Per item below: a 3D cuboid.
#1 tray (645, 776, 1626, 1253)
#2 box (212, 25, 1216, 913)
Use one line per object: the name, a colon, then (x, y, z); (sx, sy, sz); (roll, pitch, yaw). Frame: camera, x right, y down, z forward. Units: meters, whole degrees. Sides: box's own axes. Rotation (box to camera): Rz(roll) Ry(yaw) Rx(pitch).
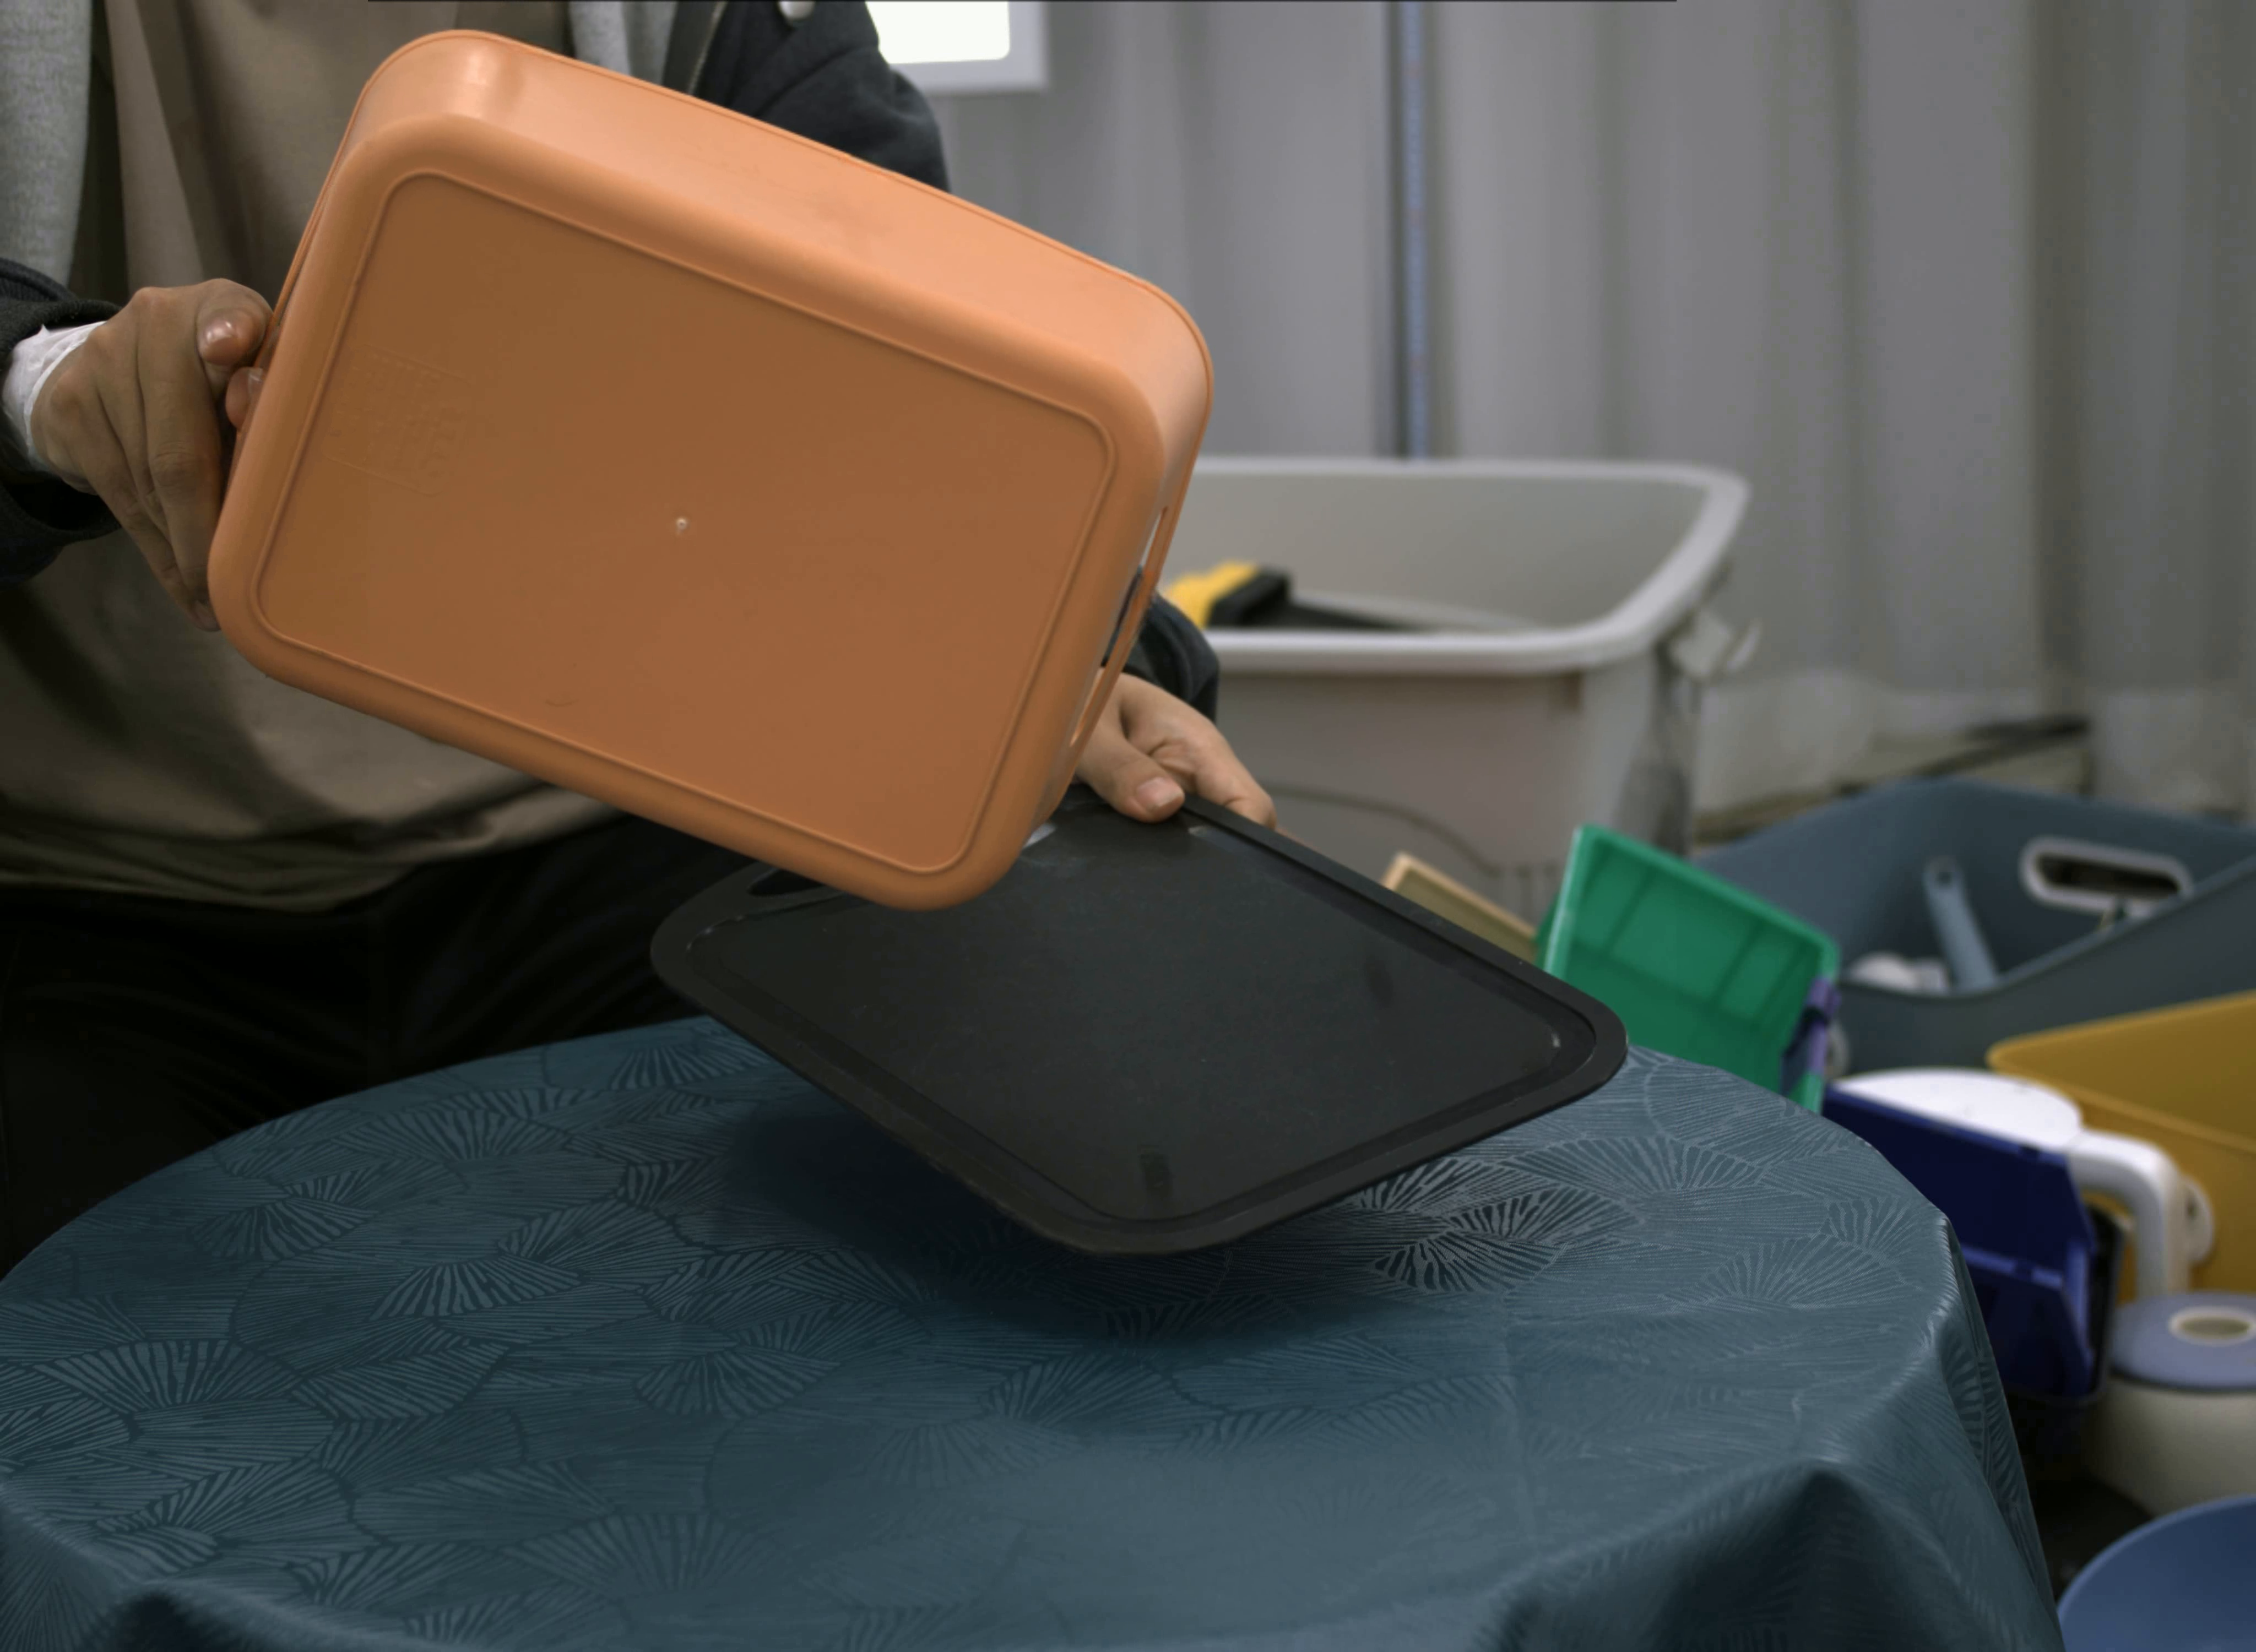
tray: (-0.008, 0.050, 1.725); (0.211, 0.010, 0.328); (-20, 28, -29)
box: (-0.124, -0.098, 1.588); (0.272, 0.199, 0.103); (21, 15, -3)
